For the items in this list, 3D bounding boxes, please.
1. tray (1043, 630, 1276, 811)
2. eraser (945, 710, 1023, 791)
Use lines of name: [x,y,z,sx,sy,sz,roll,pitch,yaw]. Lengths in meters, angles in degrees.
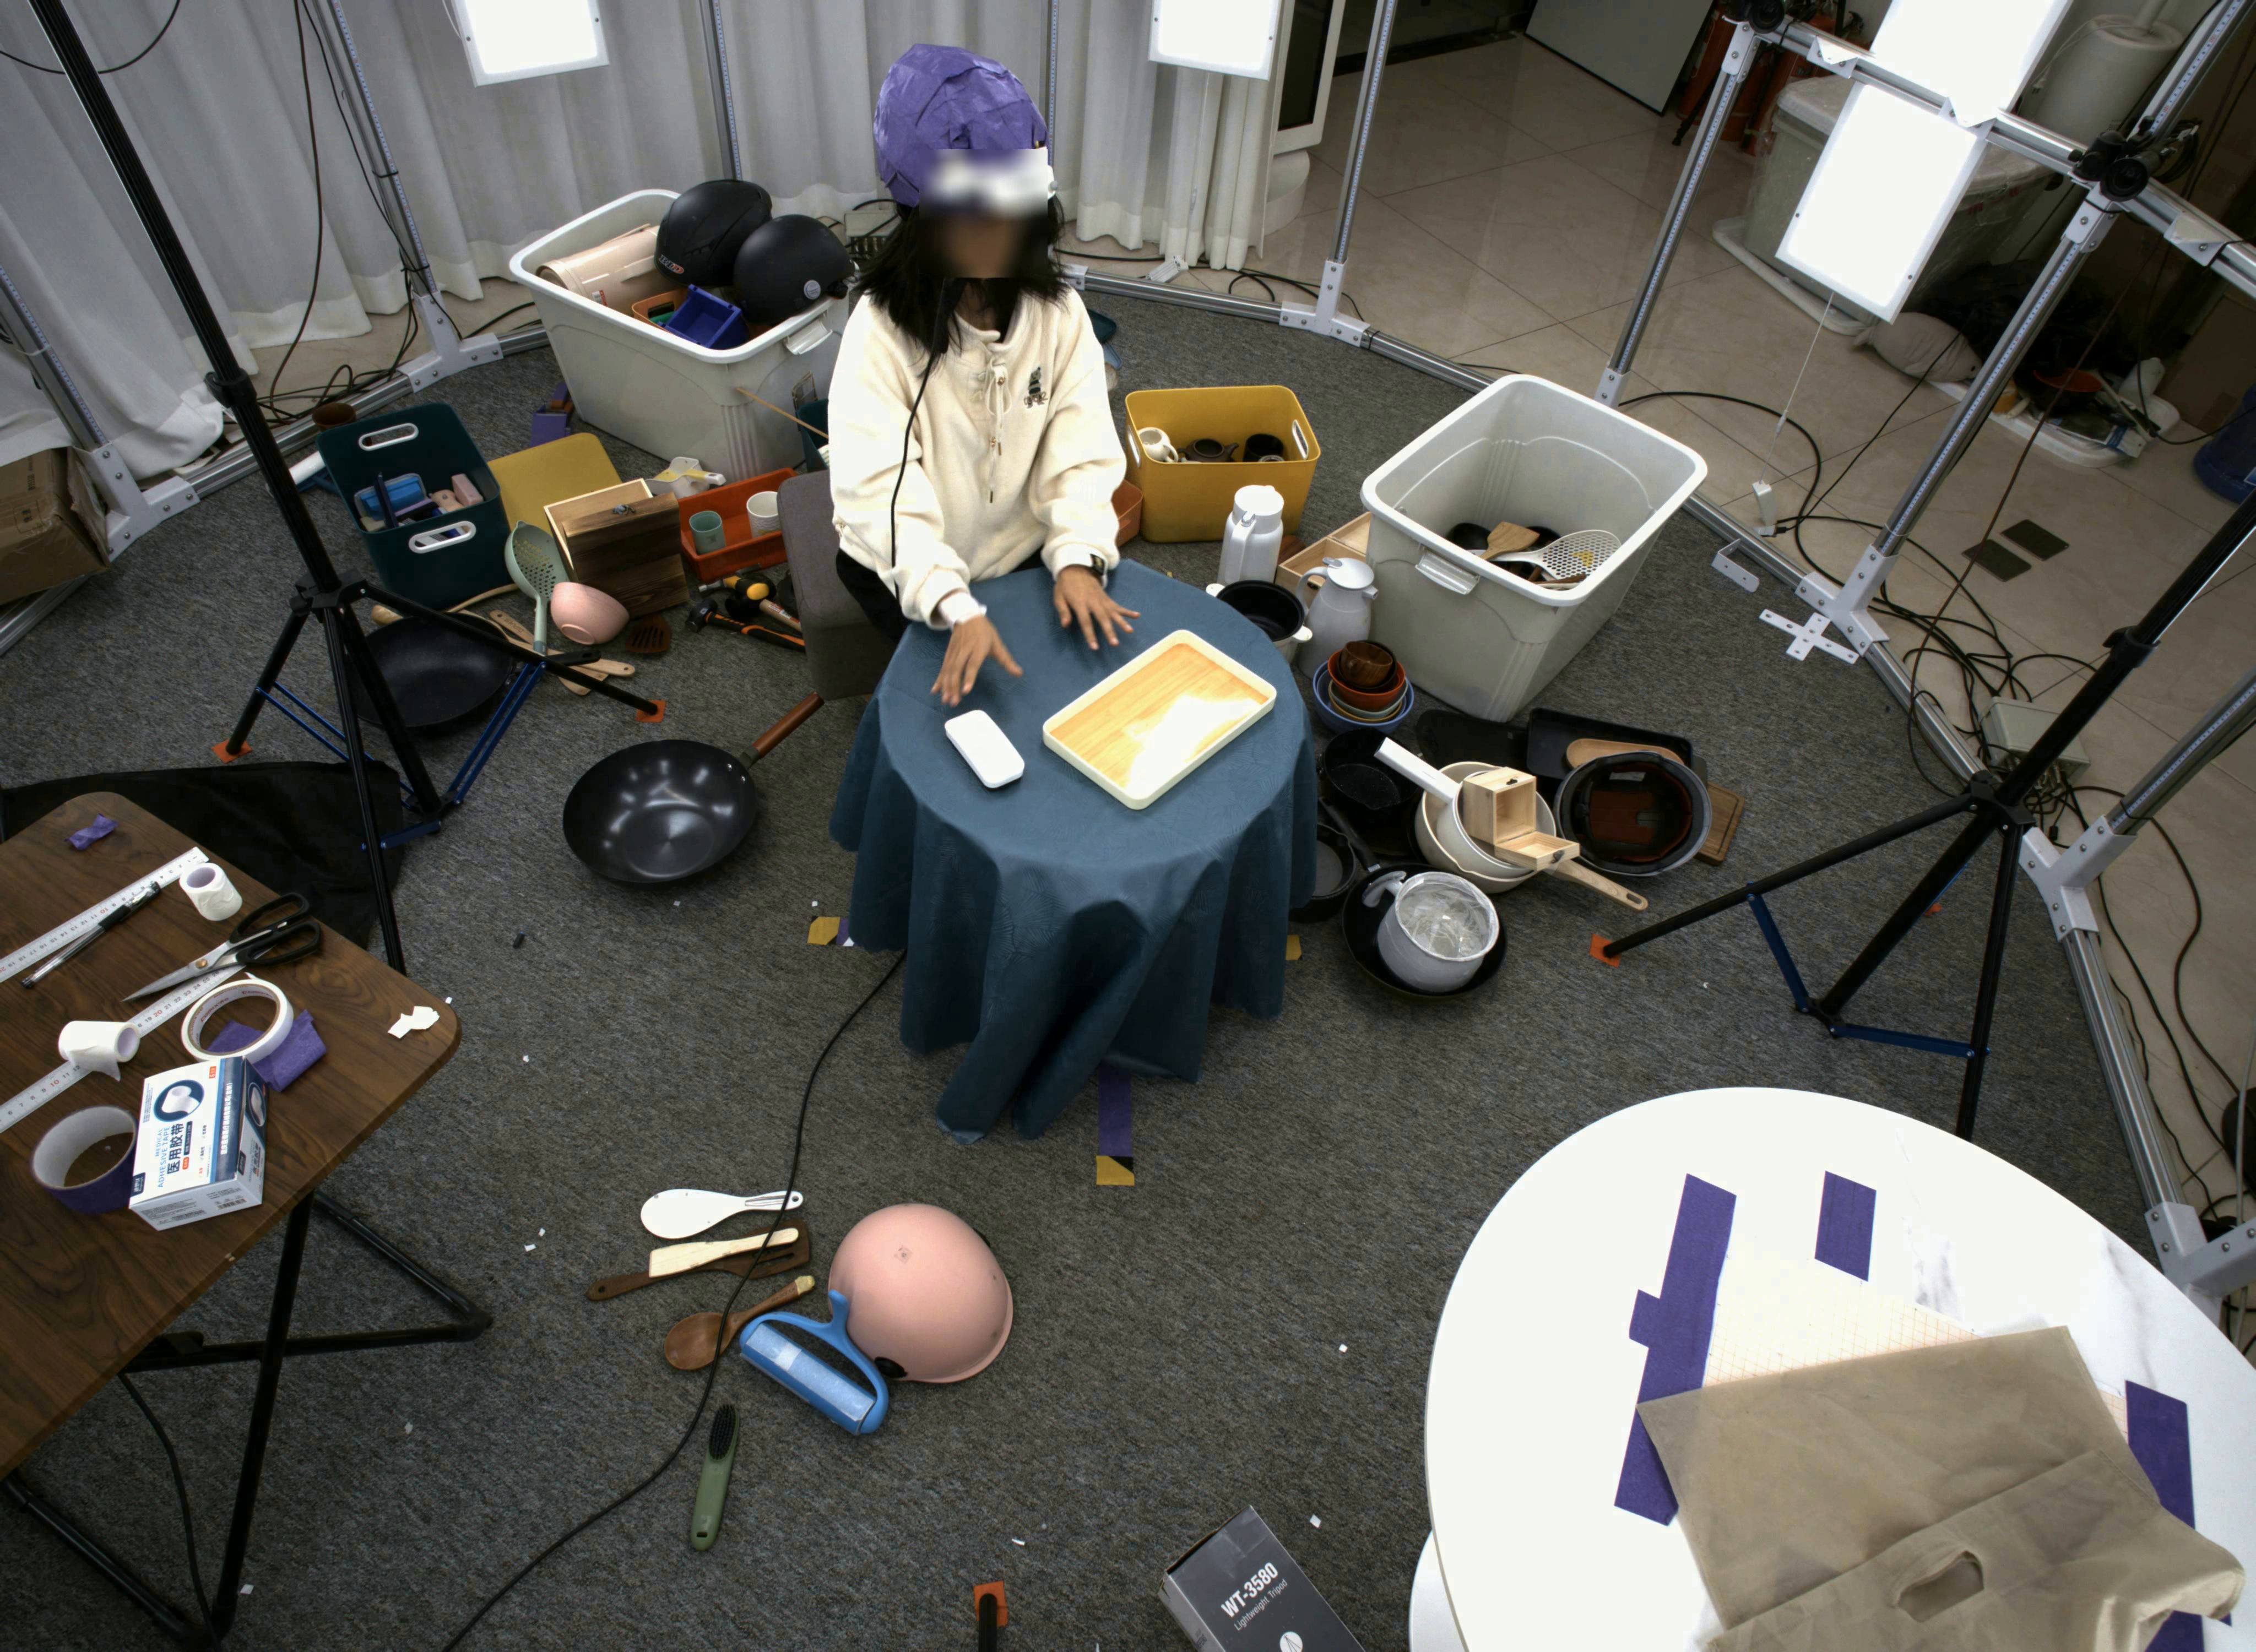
tray: [0.047,-0.153,1.789,0.194,0.027,0.303,37,57,25]
eraser: [-0.193,-0.105,1.728,0.063,0.034,0.134,-23,55,-21]
